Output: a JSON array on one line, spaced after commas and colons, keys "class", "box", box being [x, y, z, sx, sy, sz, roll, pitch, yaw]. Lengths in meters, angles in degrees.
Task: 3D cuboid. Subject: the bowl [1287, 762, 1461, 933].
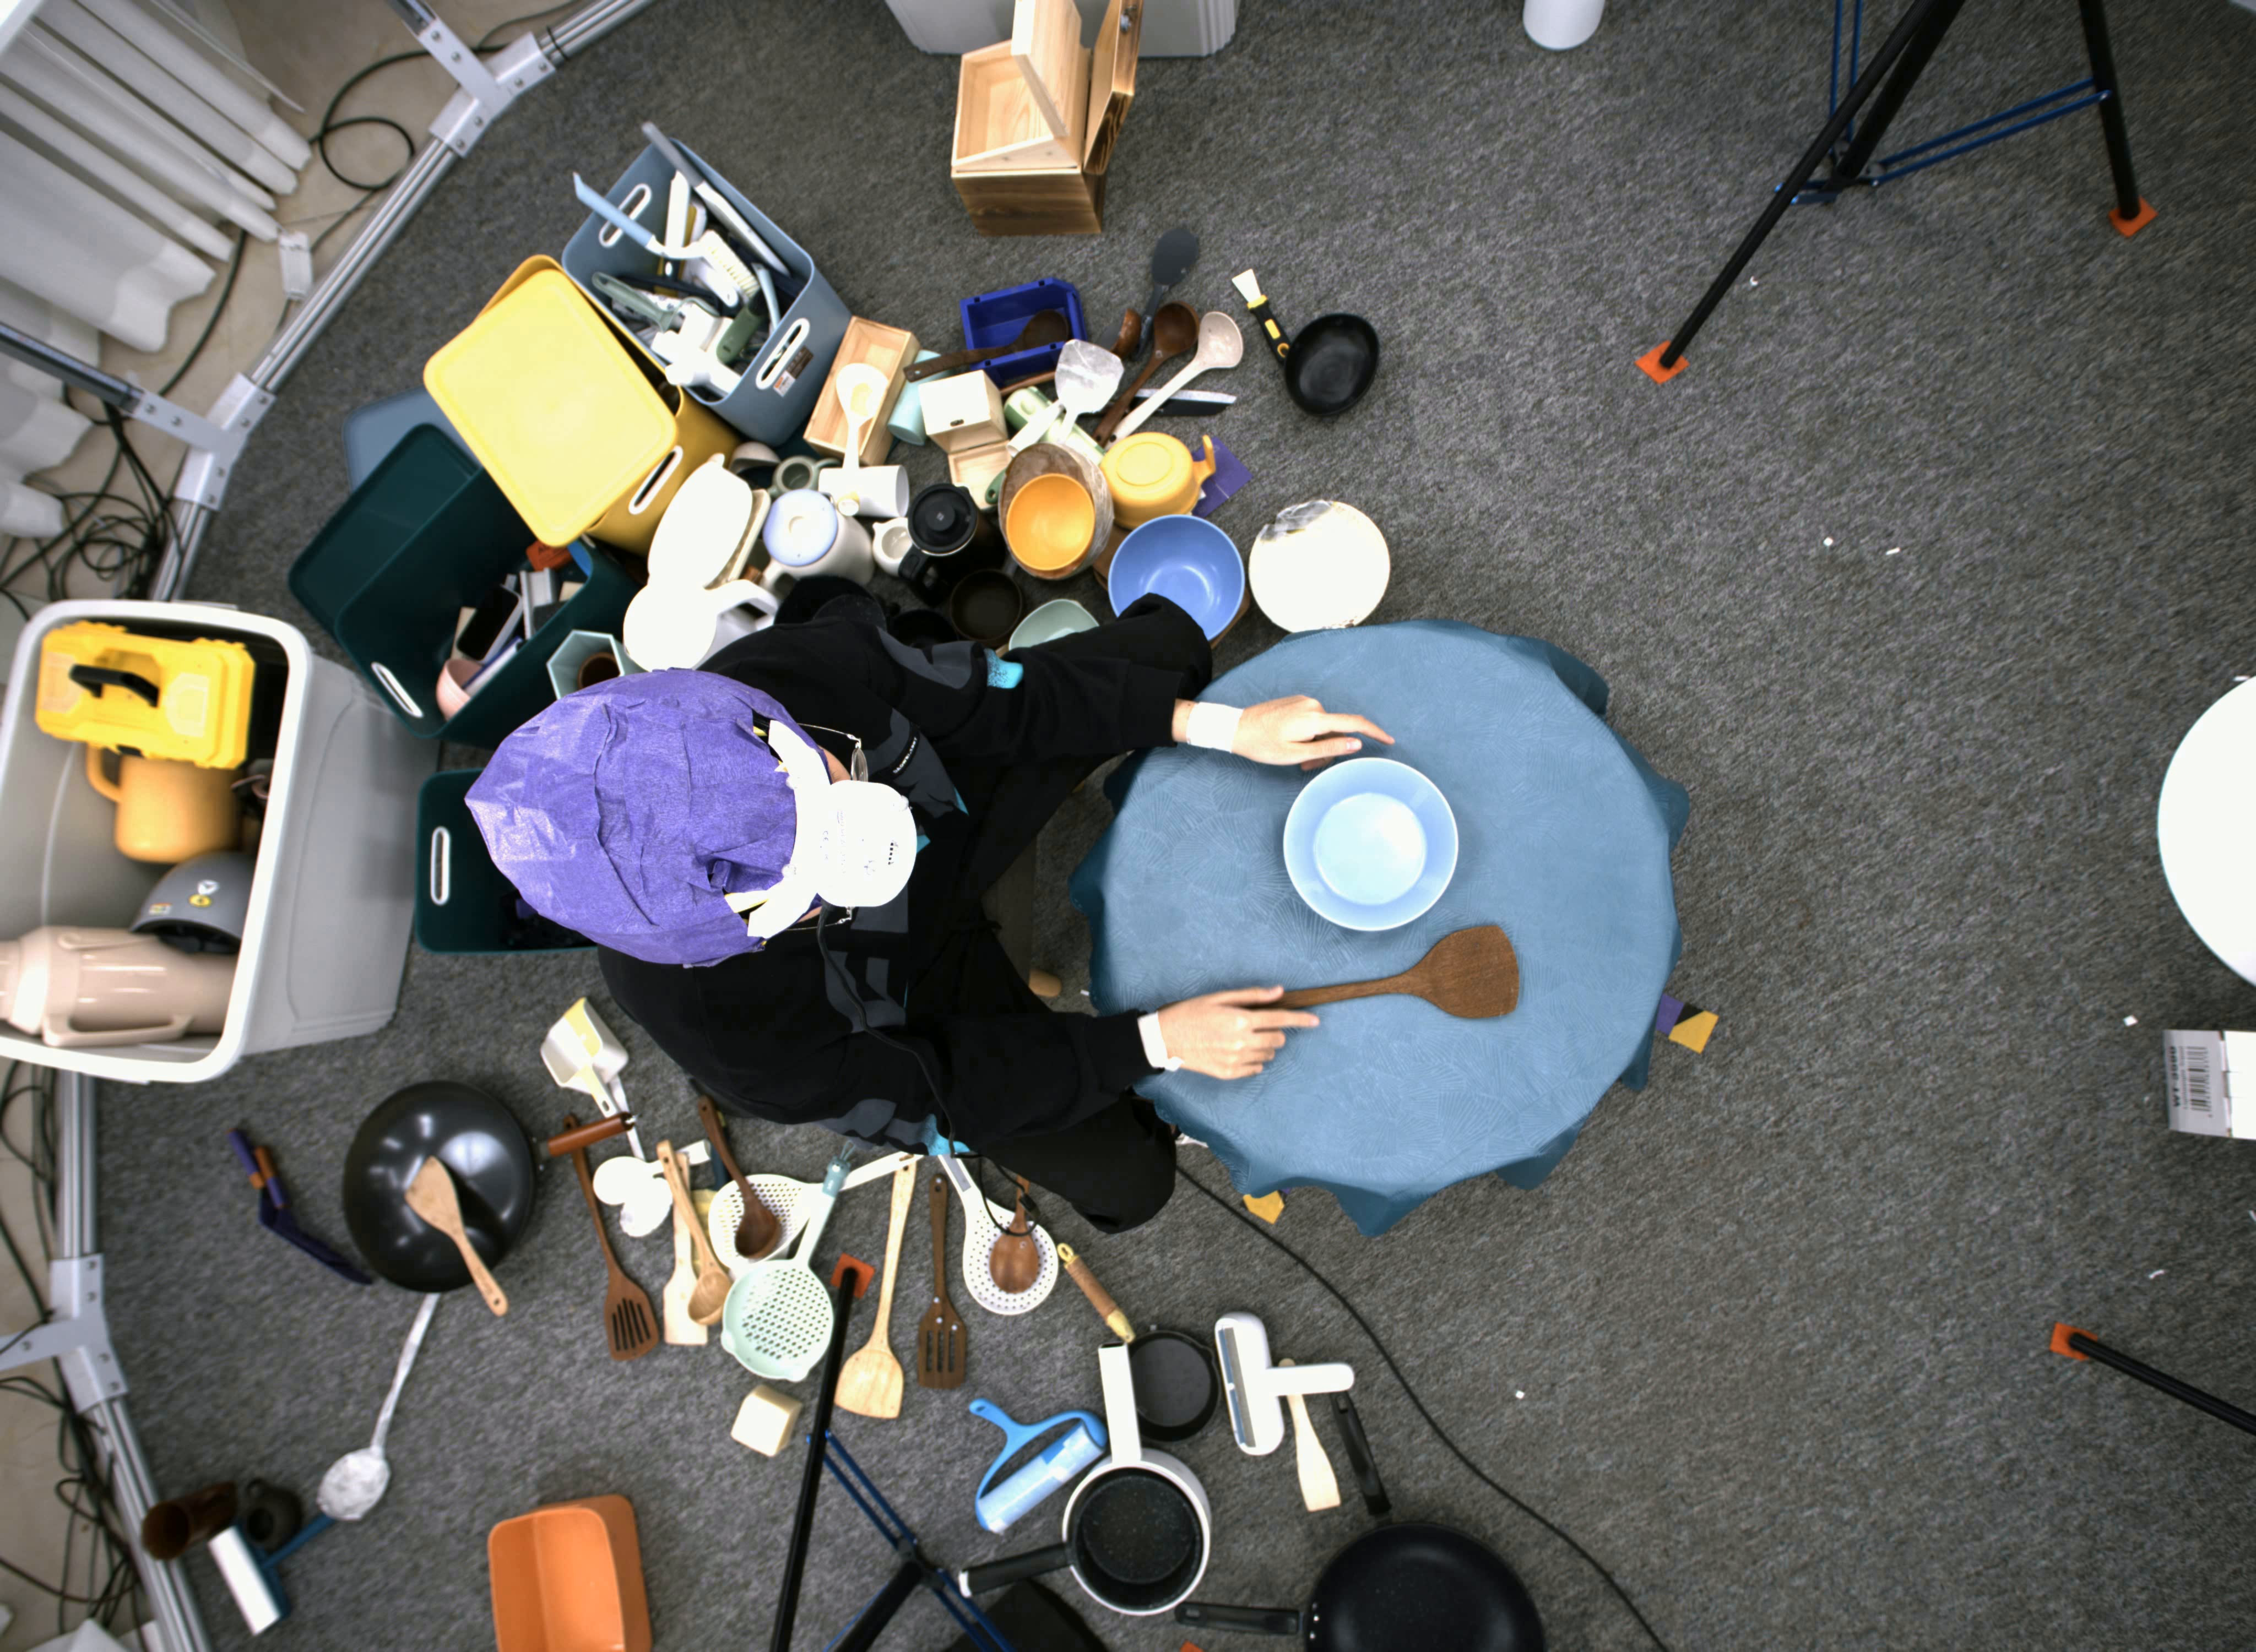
[{"class": "bowl", "box": [0.255, 0.024, 1.436, 0.177, 0.070, 0.175, -1, 85, 11]}]

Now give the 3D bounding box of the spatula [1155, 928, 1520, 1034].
[{"class": "spatula", "box": [0.217, 0.179, 1.460, 0.388, 0.016, 0.095, -10, 84, 10]}]
